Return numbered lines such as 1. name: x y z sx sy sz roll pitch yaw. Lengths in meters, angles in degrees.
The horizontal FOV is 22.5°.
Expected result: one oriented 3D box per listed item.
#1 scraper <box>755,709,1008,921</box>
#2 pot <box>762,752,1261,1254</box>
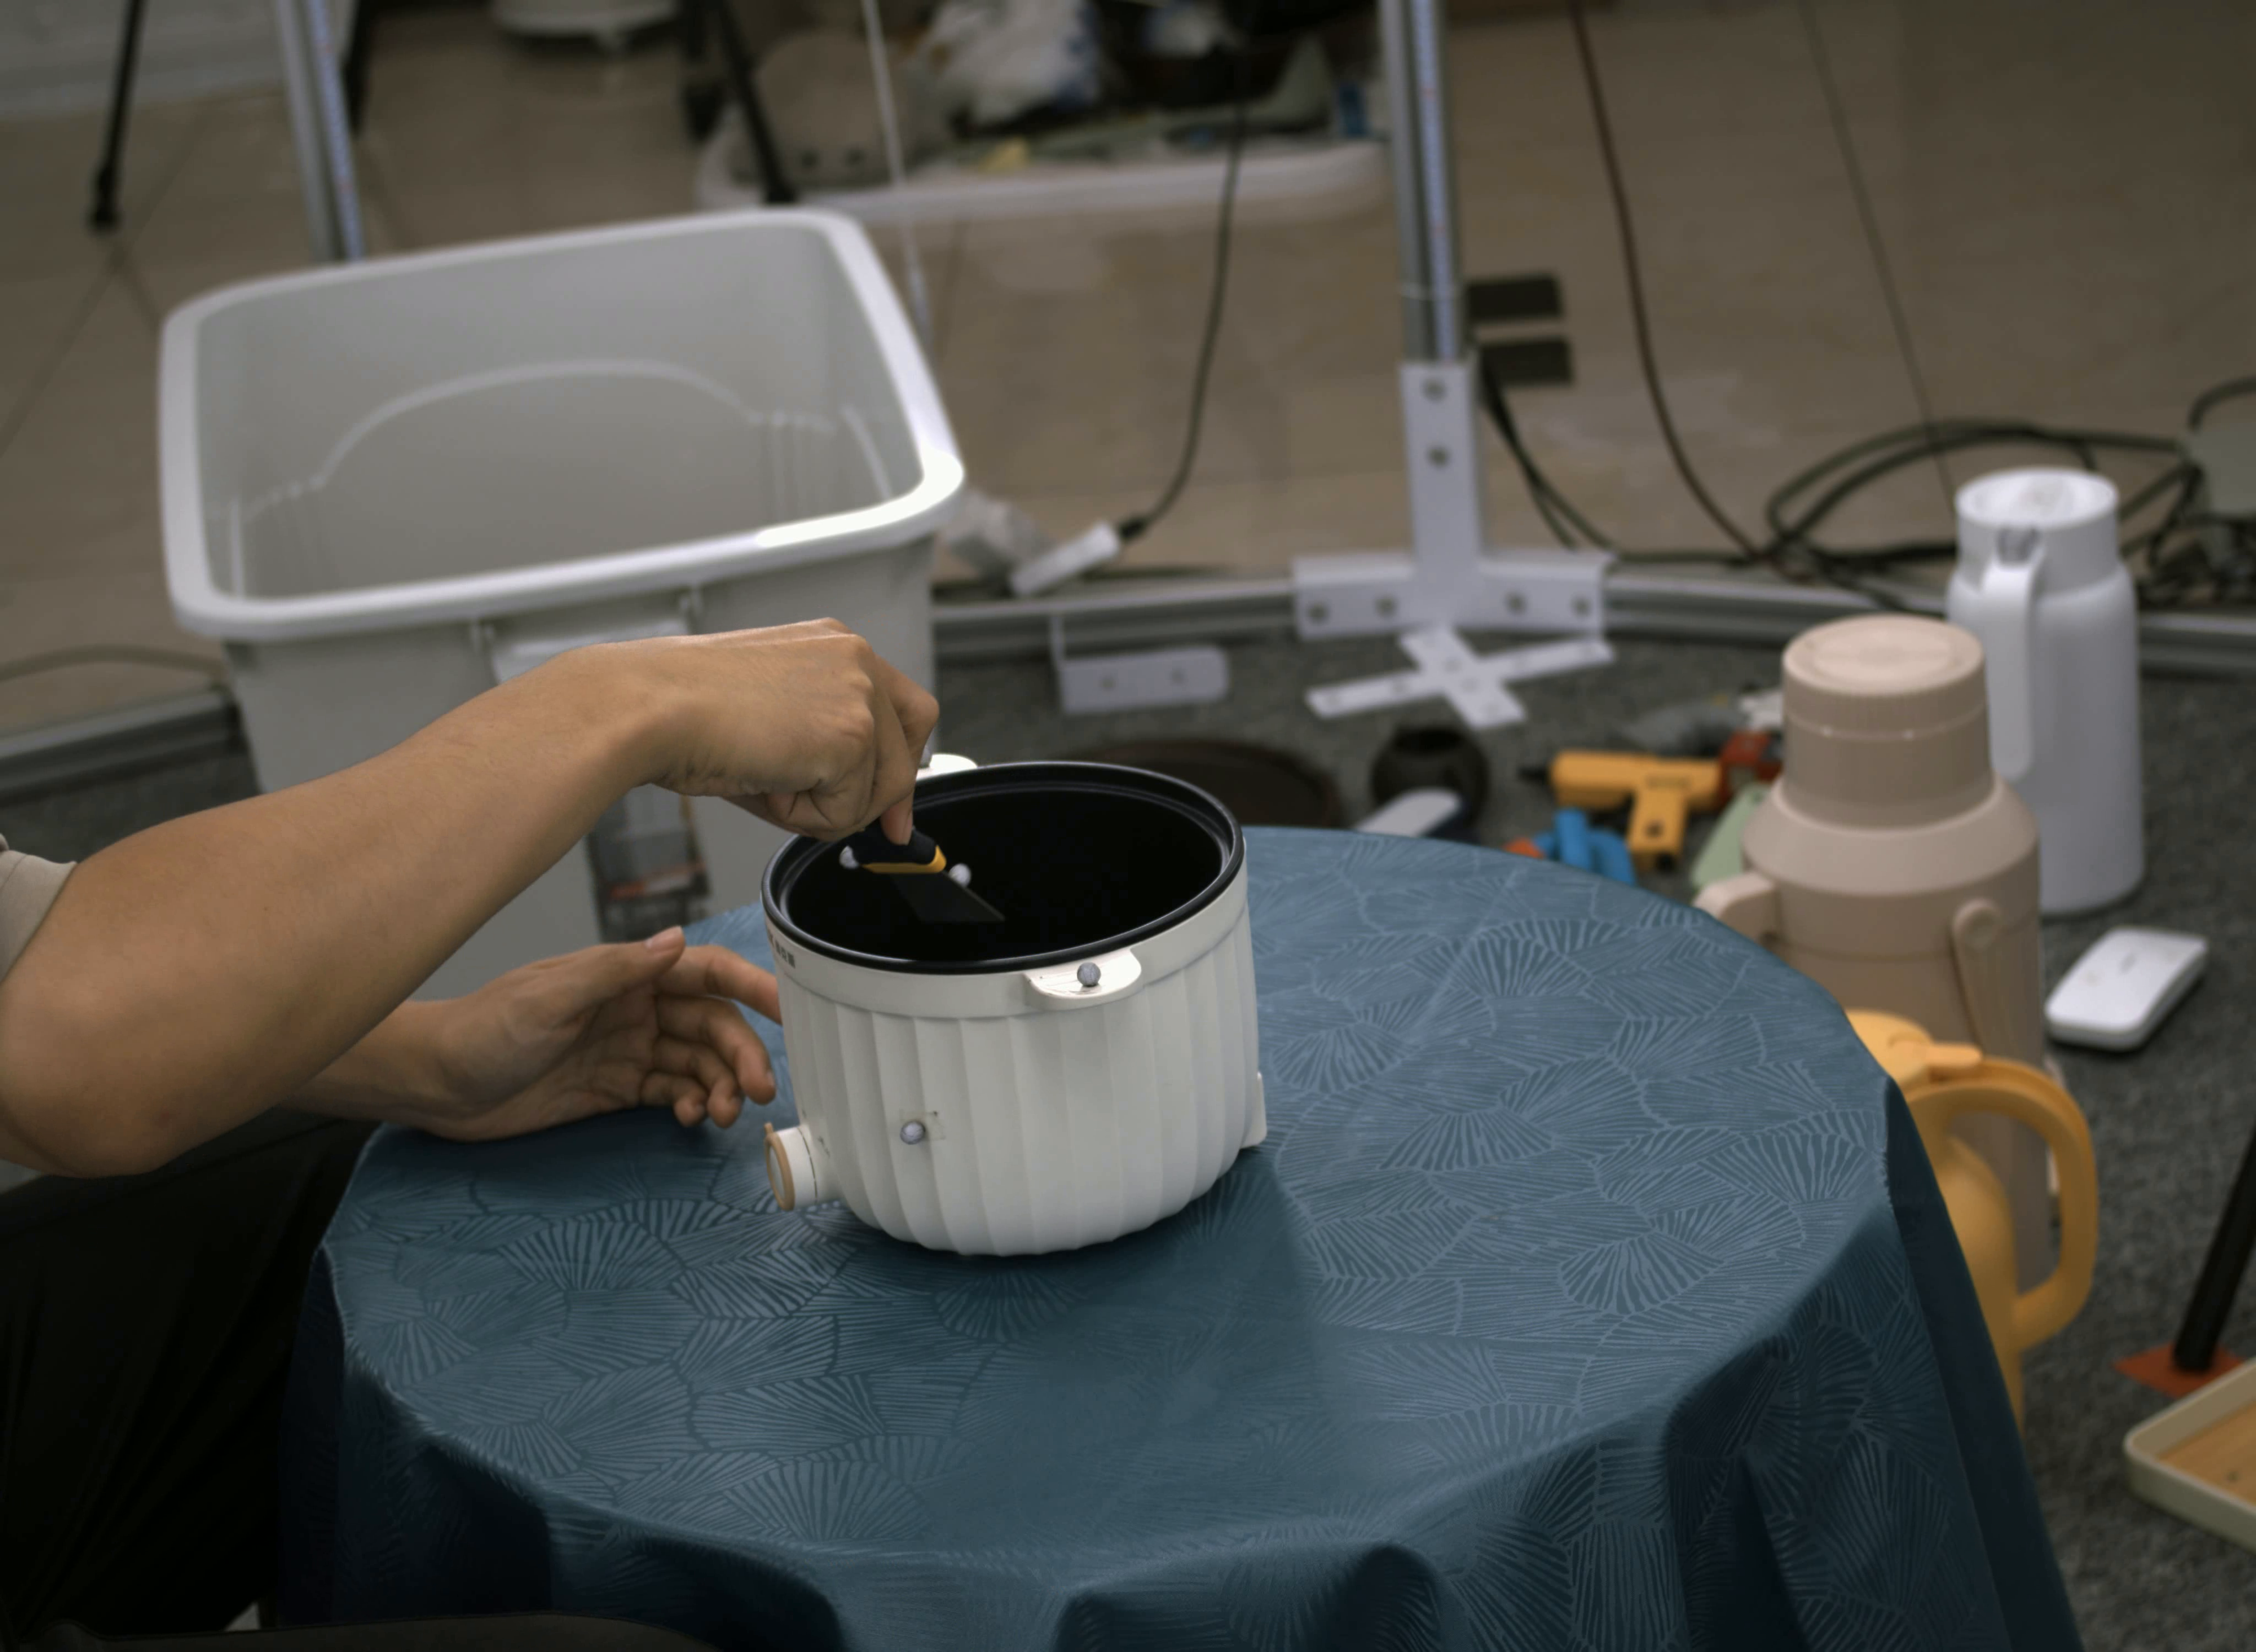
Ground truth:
1. scraper: -0.088 -0.002 2.005 0.038 0.173 0.015 9 70 25
2. pot: -0.045 0.074 2.135 0.190 0.145 0.237 -9 24 -17
